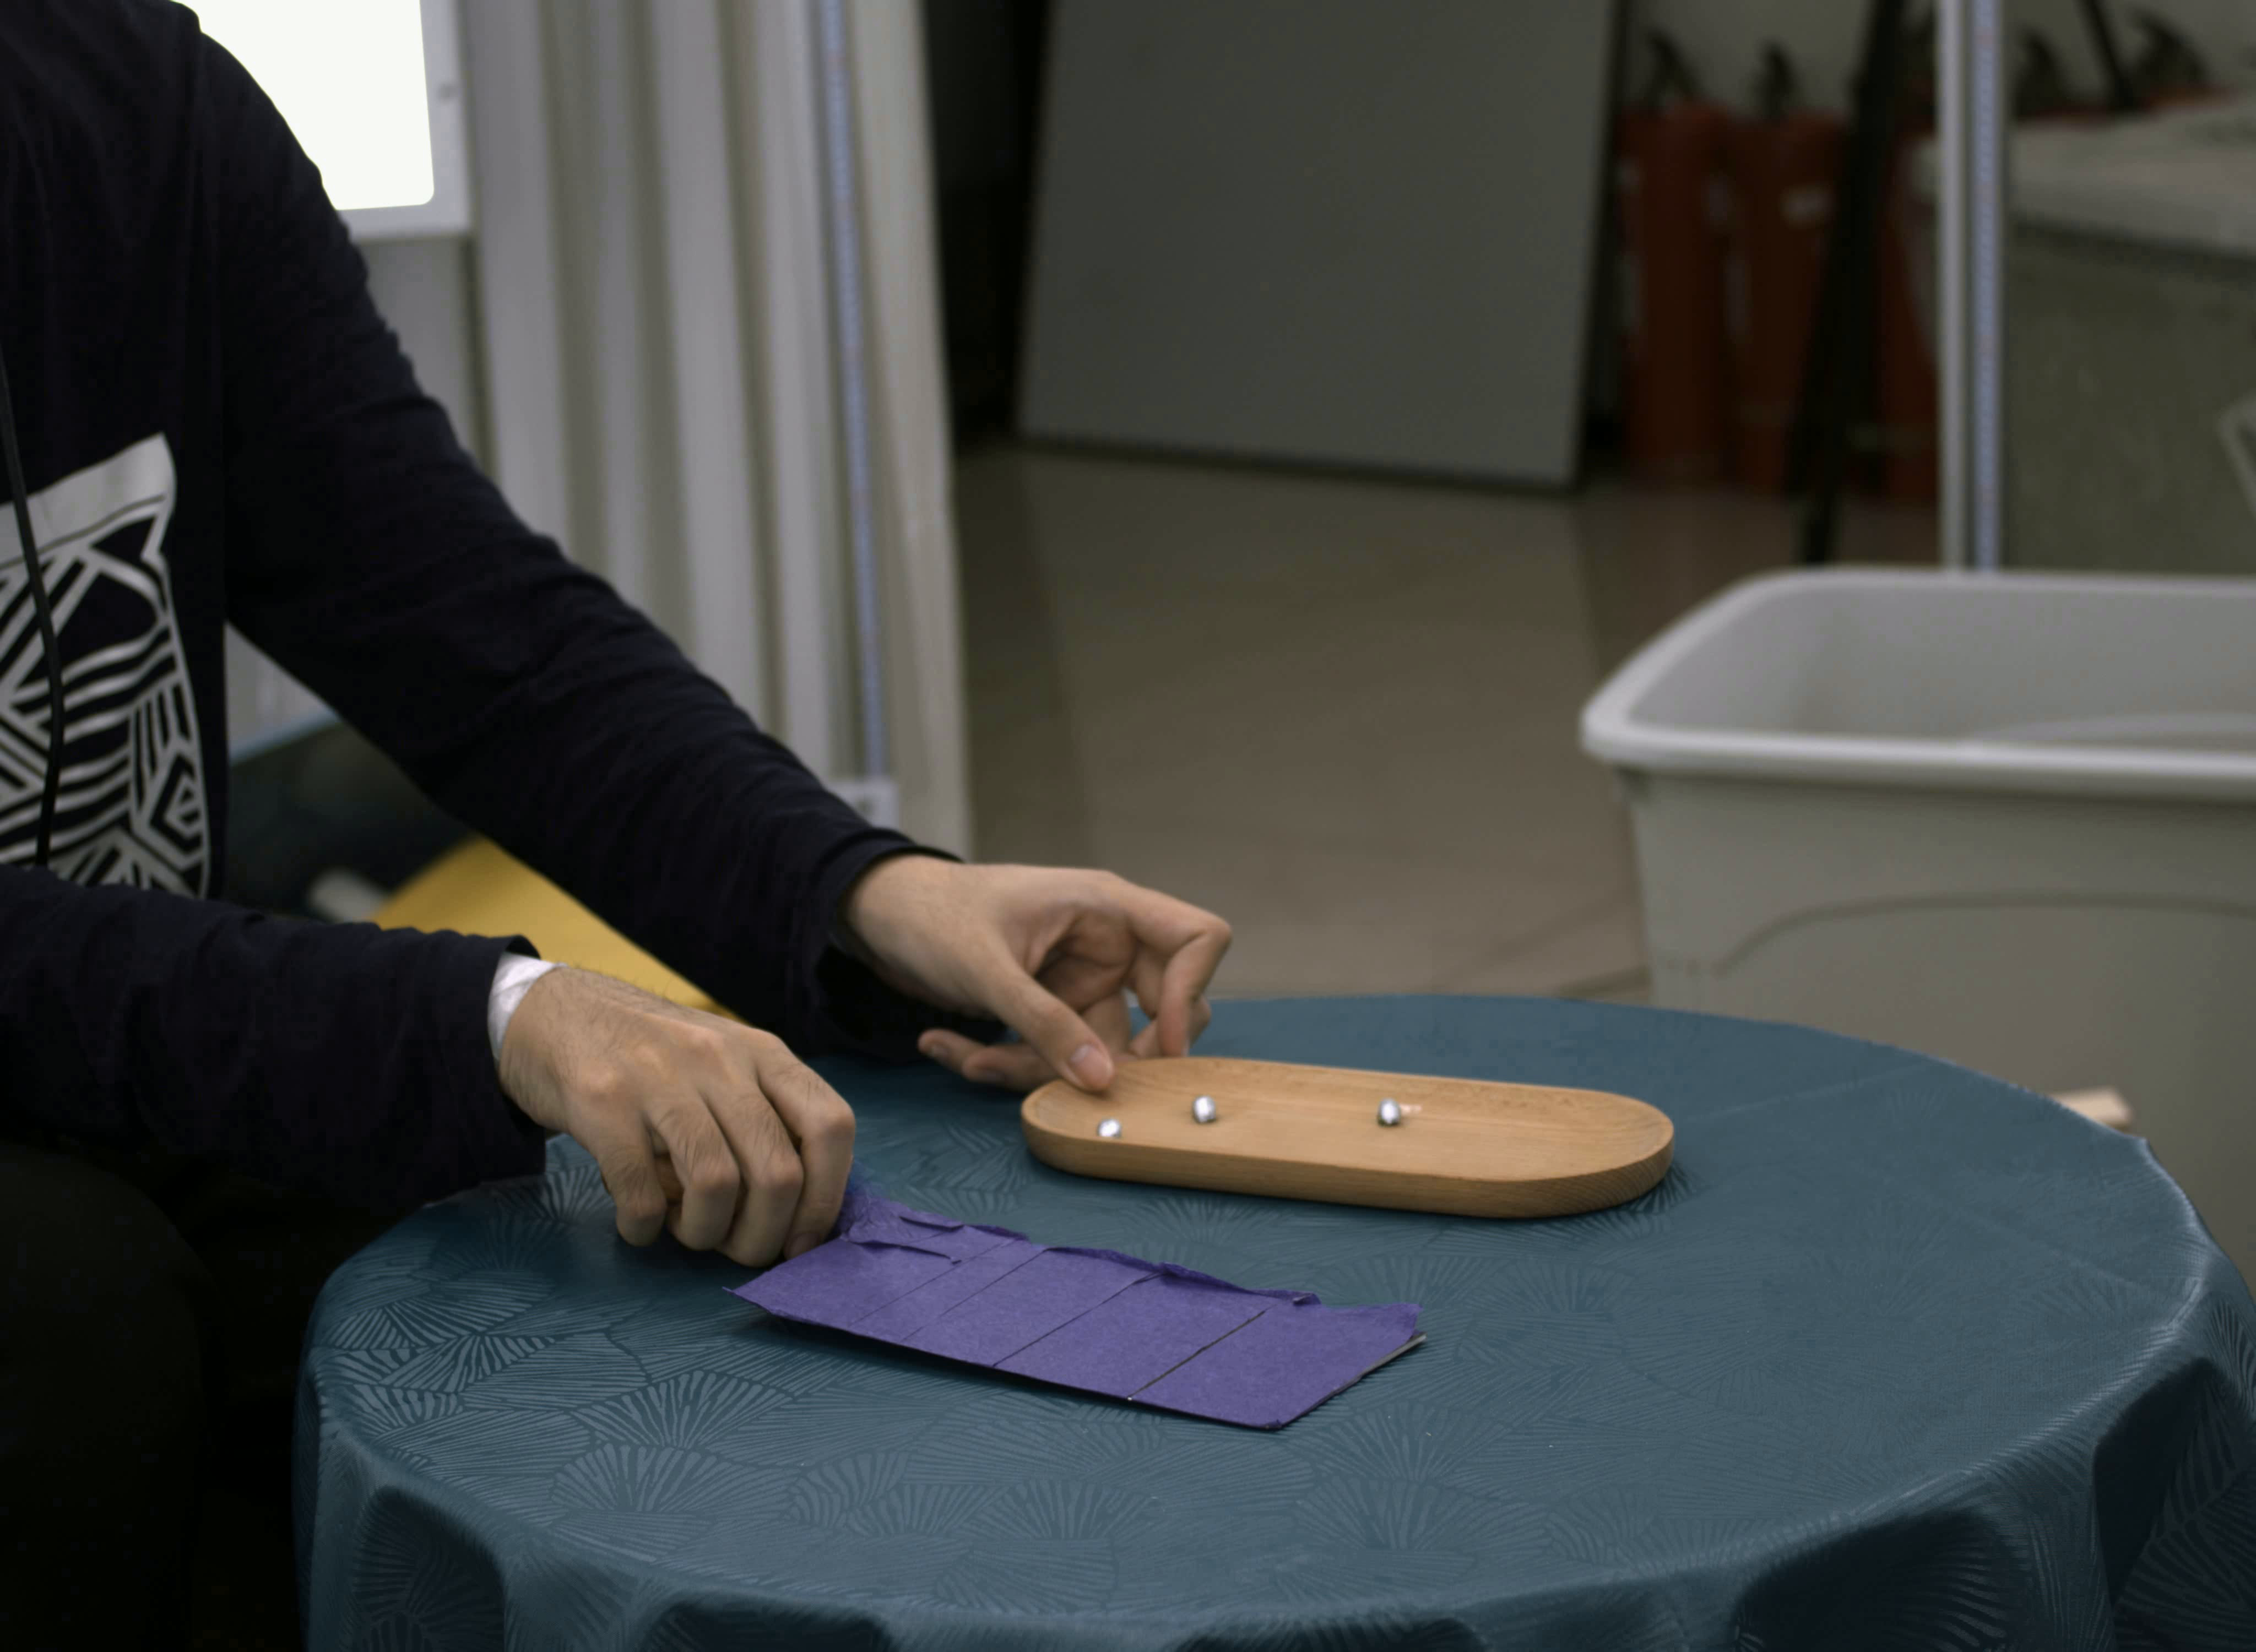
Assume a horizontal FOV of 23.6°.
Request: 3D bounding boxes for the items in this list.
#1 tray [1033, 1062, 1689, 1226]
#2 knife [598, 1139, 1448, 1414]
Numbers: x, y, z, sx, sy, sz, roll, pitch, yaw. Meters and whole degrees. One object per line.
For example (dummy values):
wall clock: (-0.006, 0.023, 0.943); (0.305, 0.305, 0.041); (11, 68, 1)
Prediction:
tray: (0.076, 0.105, 1.788); (0.232, 0.020, 0.100); (6, 18, 27)
knife: (-0.056, 0.138, 1.666); (0.317, 0.032, 0.102); (6, 17, 36)
